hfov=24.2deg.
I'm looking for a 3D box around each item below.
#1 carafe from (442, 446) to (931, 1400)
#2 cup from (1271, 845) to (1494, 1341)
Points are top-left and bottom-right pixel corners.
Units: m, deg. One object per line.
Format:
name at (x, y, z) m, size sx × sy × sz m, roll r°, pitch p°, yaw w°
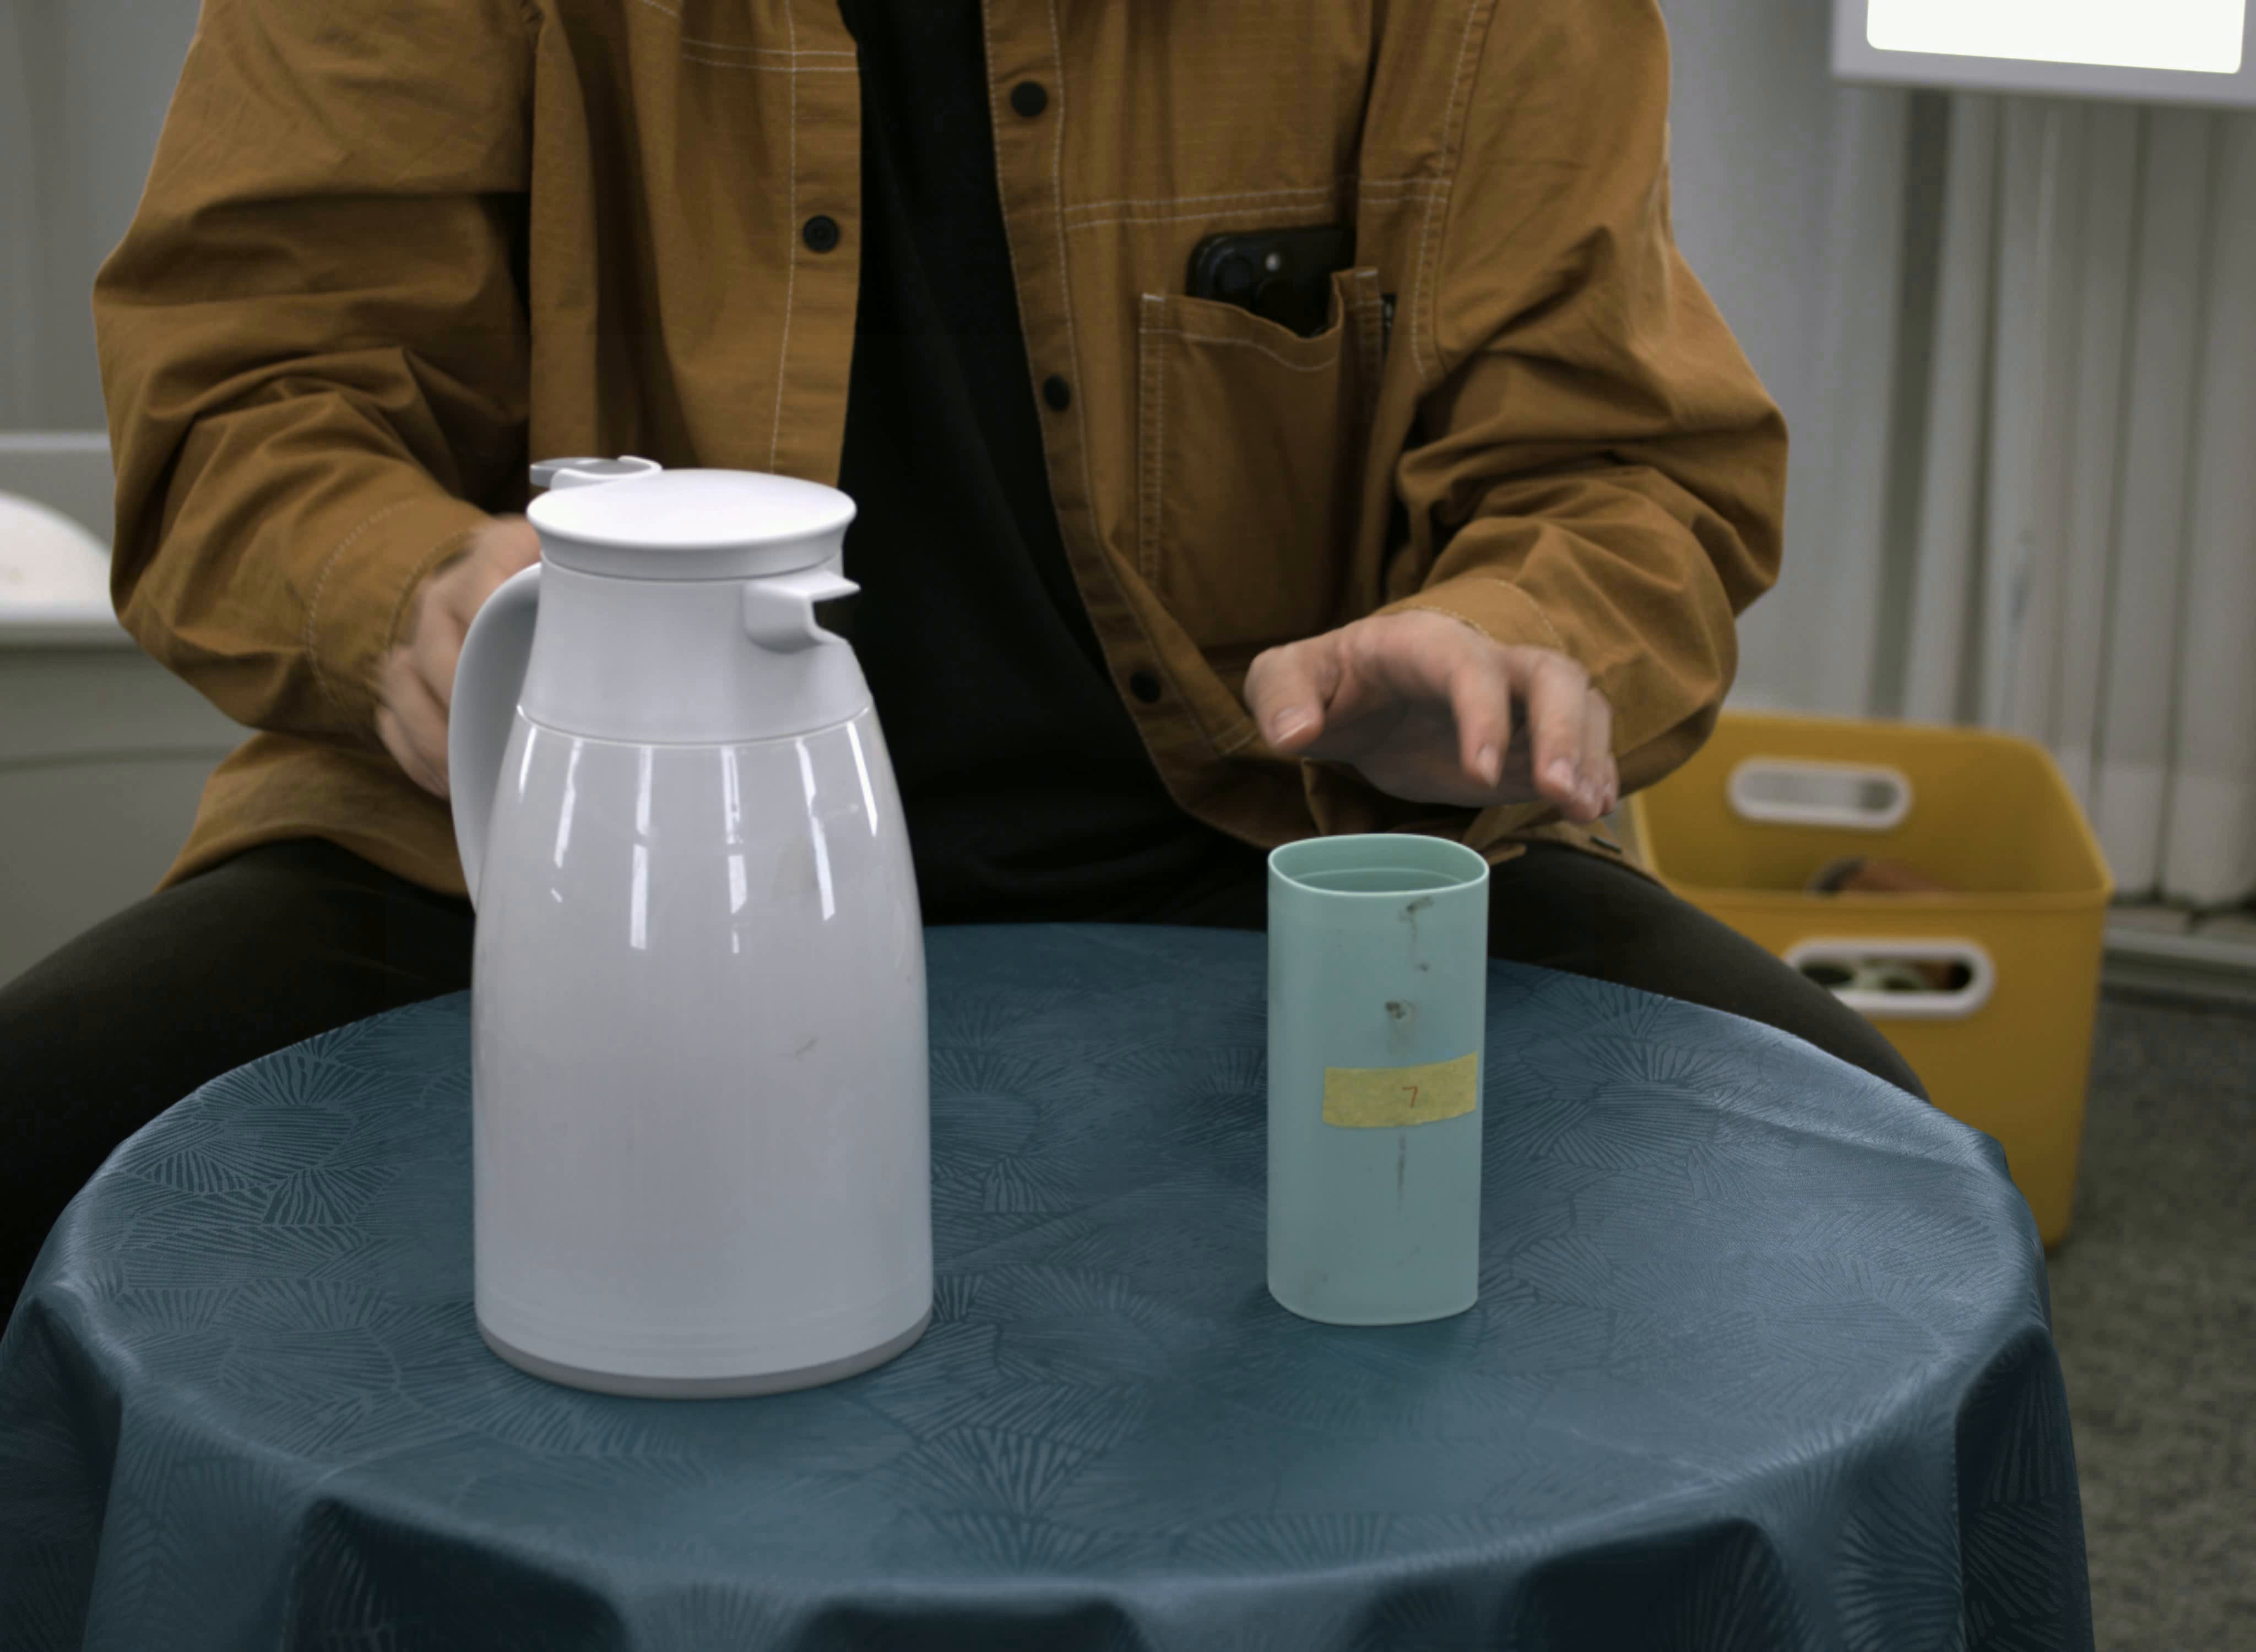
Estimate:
carafe at (-0.136, 0.019, 1.490) m, size 0.165 × 0.250 × 0.133 m, roll 15°, pitch 22°, yaw 43°
cup at (0.072, 0.076, 1.523) m, size 0.066 × 0.133 × 0.066 m, roll 1°, pitch 16°, yaw 0°
